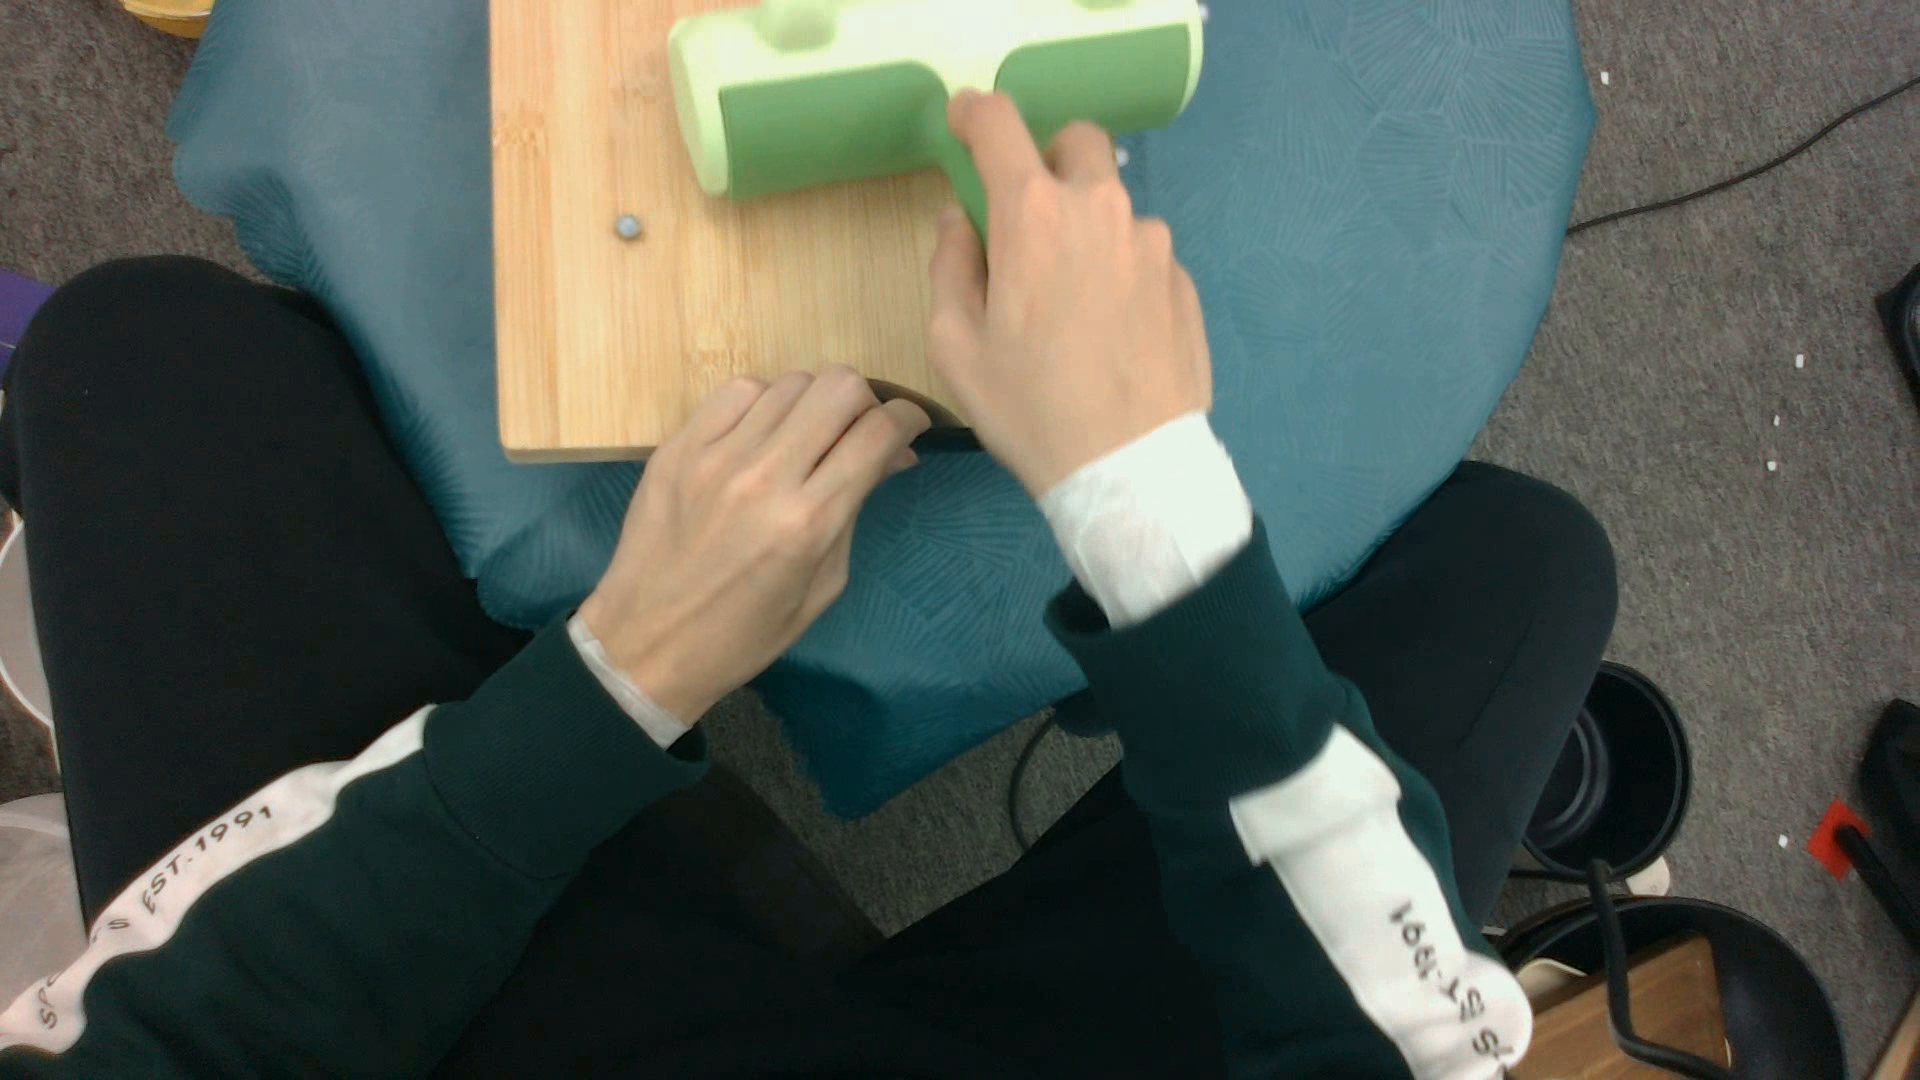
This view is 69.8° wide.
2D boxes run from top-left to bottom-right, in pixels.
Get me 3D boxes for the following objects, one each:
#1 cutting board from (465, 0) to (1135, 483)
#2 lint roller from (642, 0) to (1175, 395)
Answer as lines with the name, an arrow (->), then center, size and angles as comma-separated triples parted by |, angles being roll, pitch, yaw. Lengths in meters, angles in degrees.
cutting board -> -0.071, -0.195, 0.550 | 0.251, 0.023, 0.349 | -5, 76, -15
lint roller -> 0.006, -0.136, 0.478 | 0.199, 0.082, 0.184 | -15, 52, -17
